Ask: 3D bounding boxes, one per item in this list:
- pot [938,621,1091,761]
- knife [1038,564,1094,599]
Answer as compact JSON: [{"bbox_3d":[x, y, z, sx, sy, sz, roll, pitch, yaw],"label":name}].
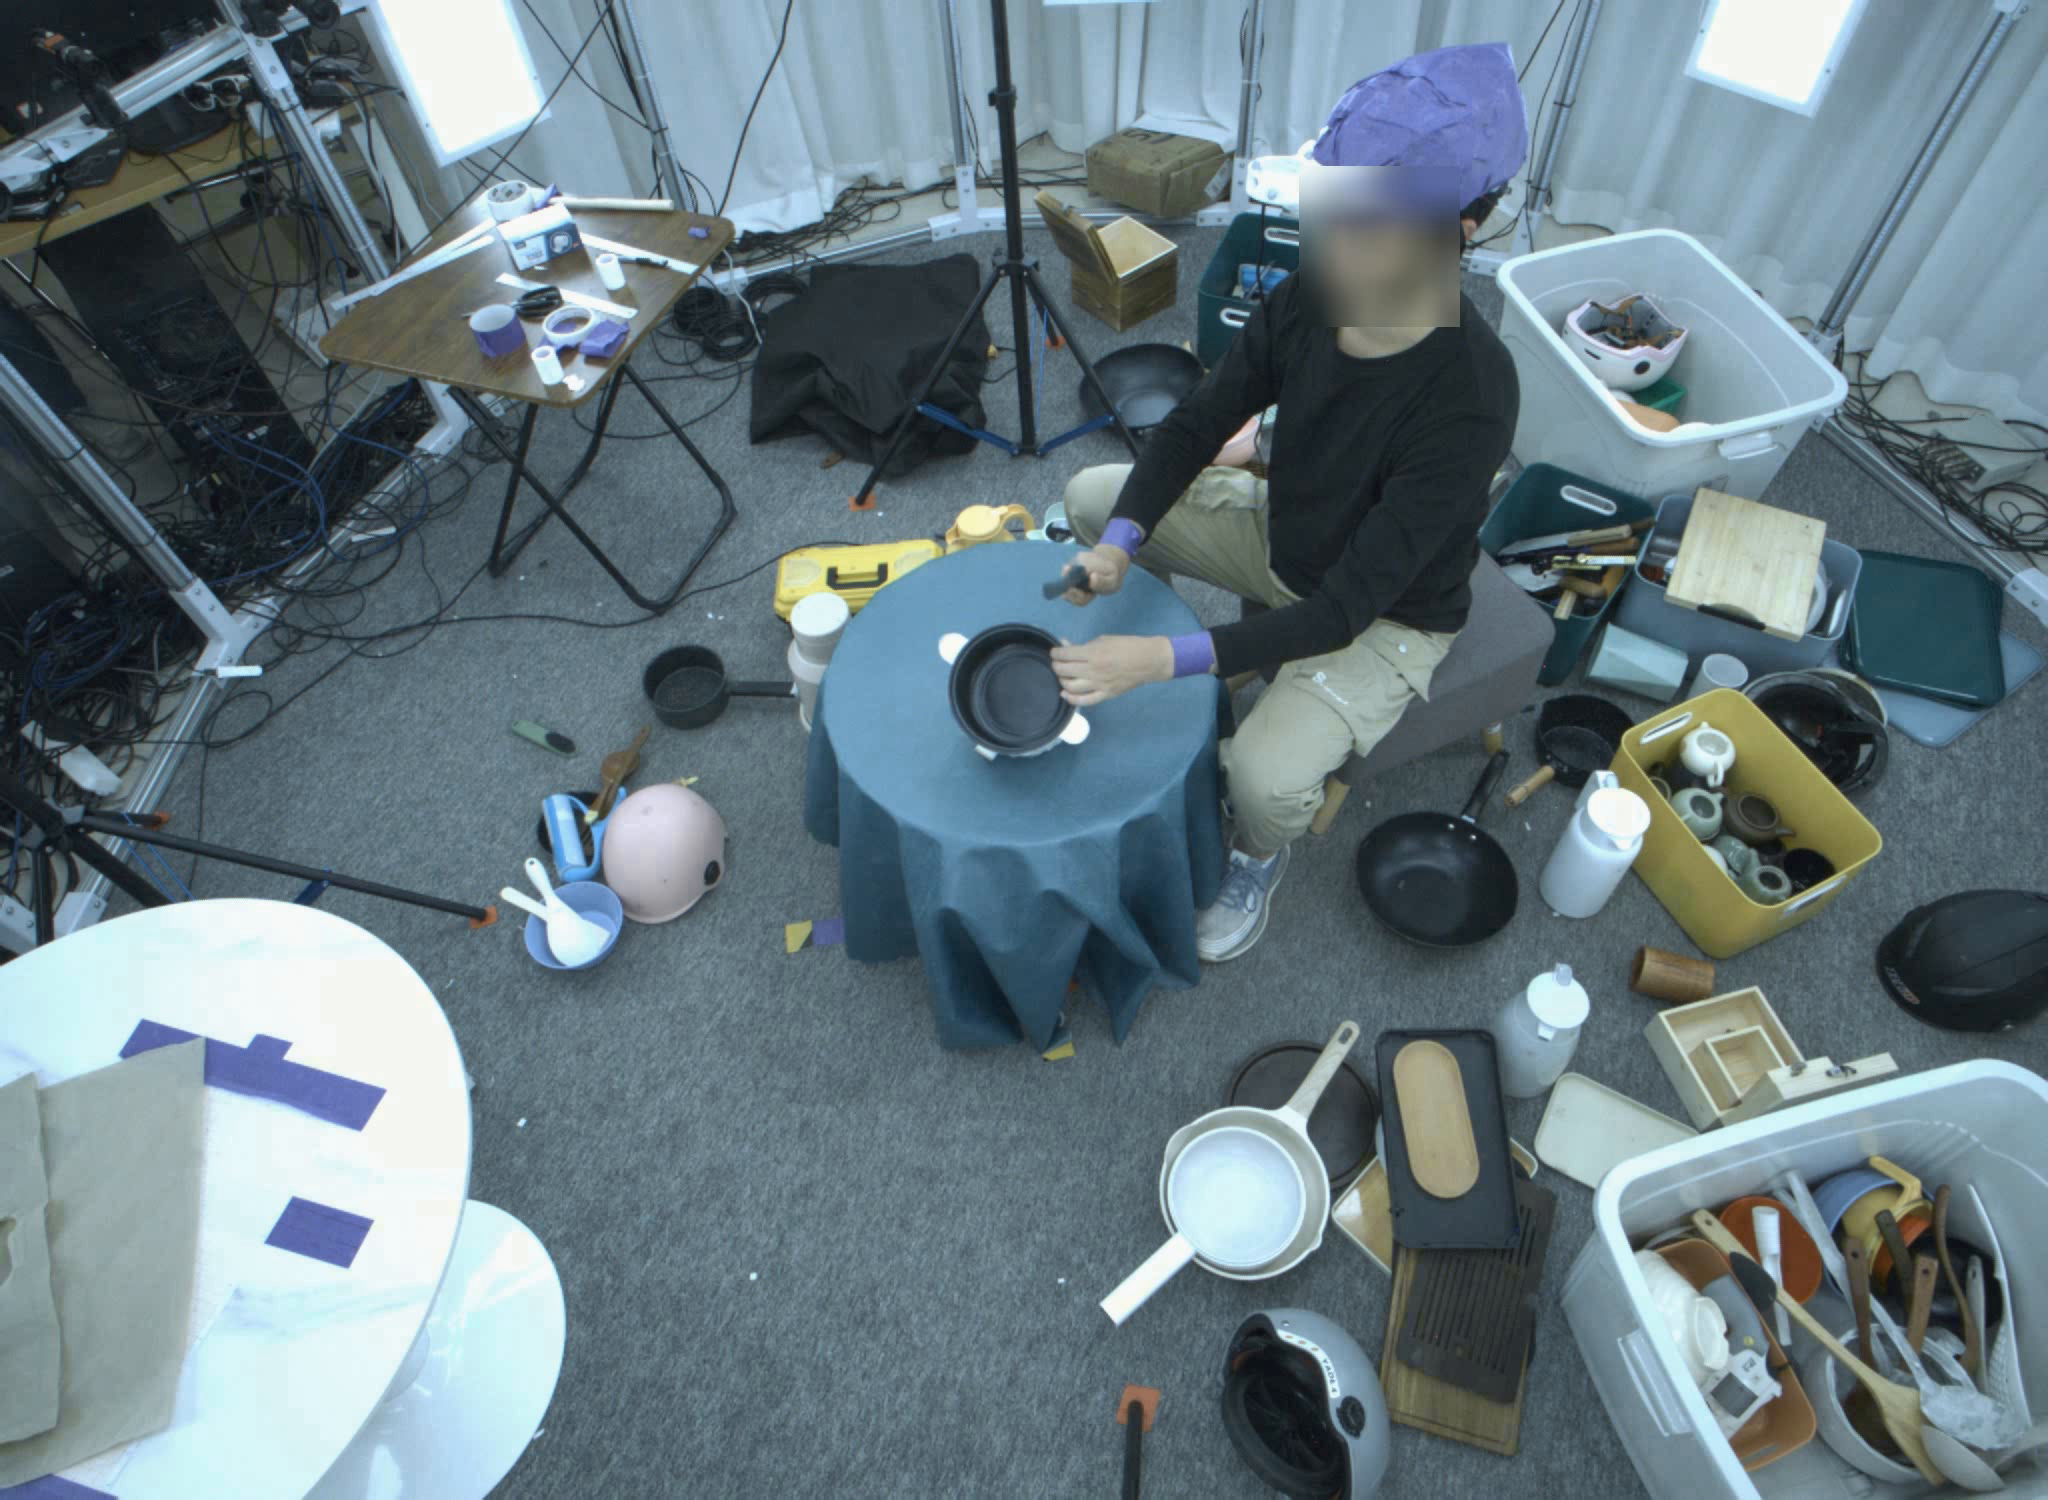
[{"bbox_3d":[-0.009,-0.074,1.725,0.239,0.143,0.190,33,87,7],"label":"pot"},{"bbox_3d":[0.061,-0.228,1.699,0.080,0.304,0.021,-27,89,11],"label":"knife"}]
